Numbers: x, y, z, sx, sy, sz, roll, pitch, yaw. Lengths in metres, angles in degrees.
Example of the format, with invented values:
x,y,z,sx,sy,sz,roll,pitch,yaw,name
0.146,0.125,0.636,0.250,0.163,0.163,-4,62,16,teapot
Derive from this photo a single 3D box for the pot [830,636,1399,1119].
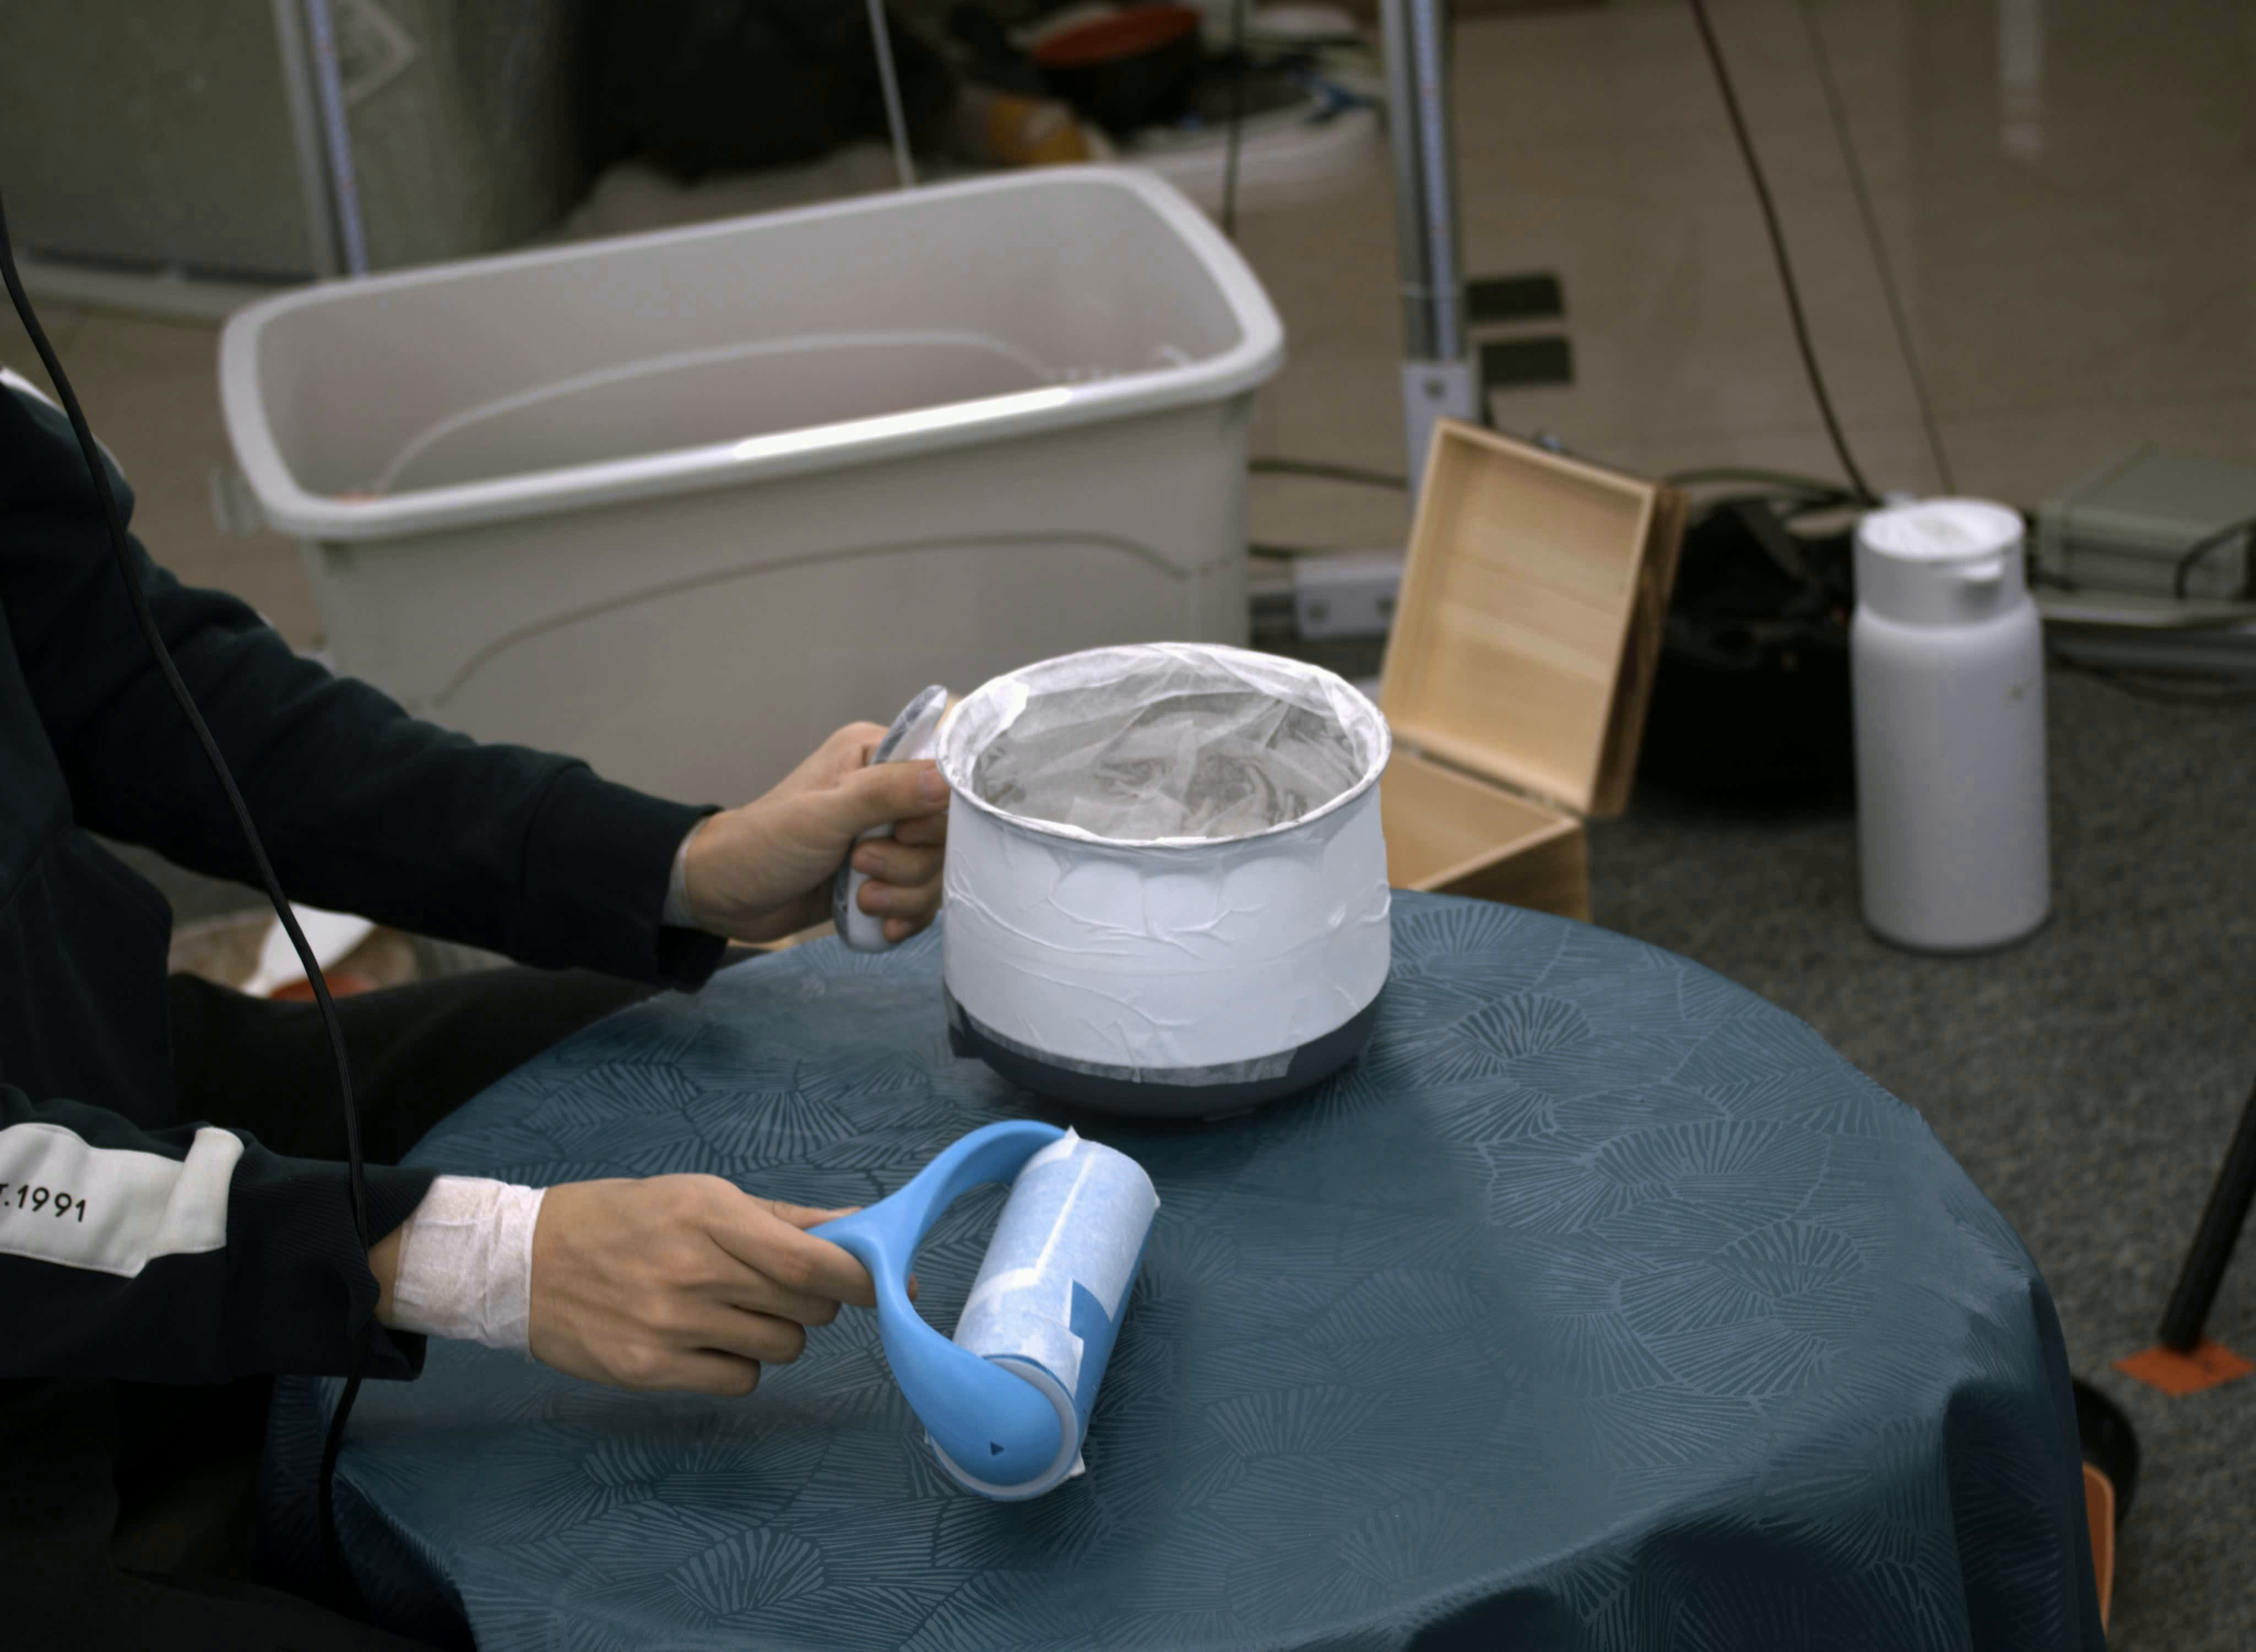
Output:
x,y,z,sx,sy,sz,roll,pitch,yaw,name
-0.010,0.016,2.221,0.232,0.139,0.176,12,30,20,pot

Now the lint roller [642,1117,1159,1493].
x,y,z,sx,sy,sz,roll,pitch,yaw,name
-0.085,0.168,1.996,0.180,0.069,0.226,-1,21,5,lint roller
